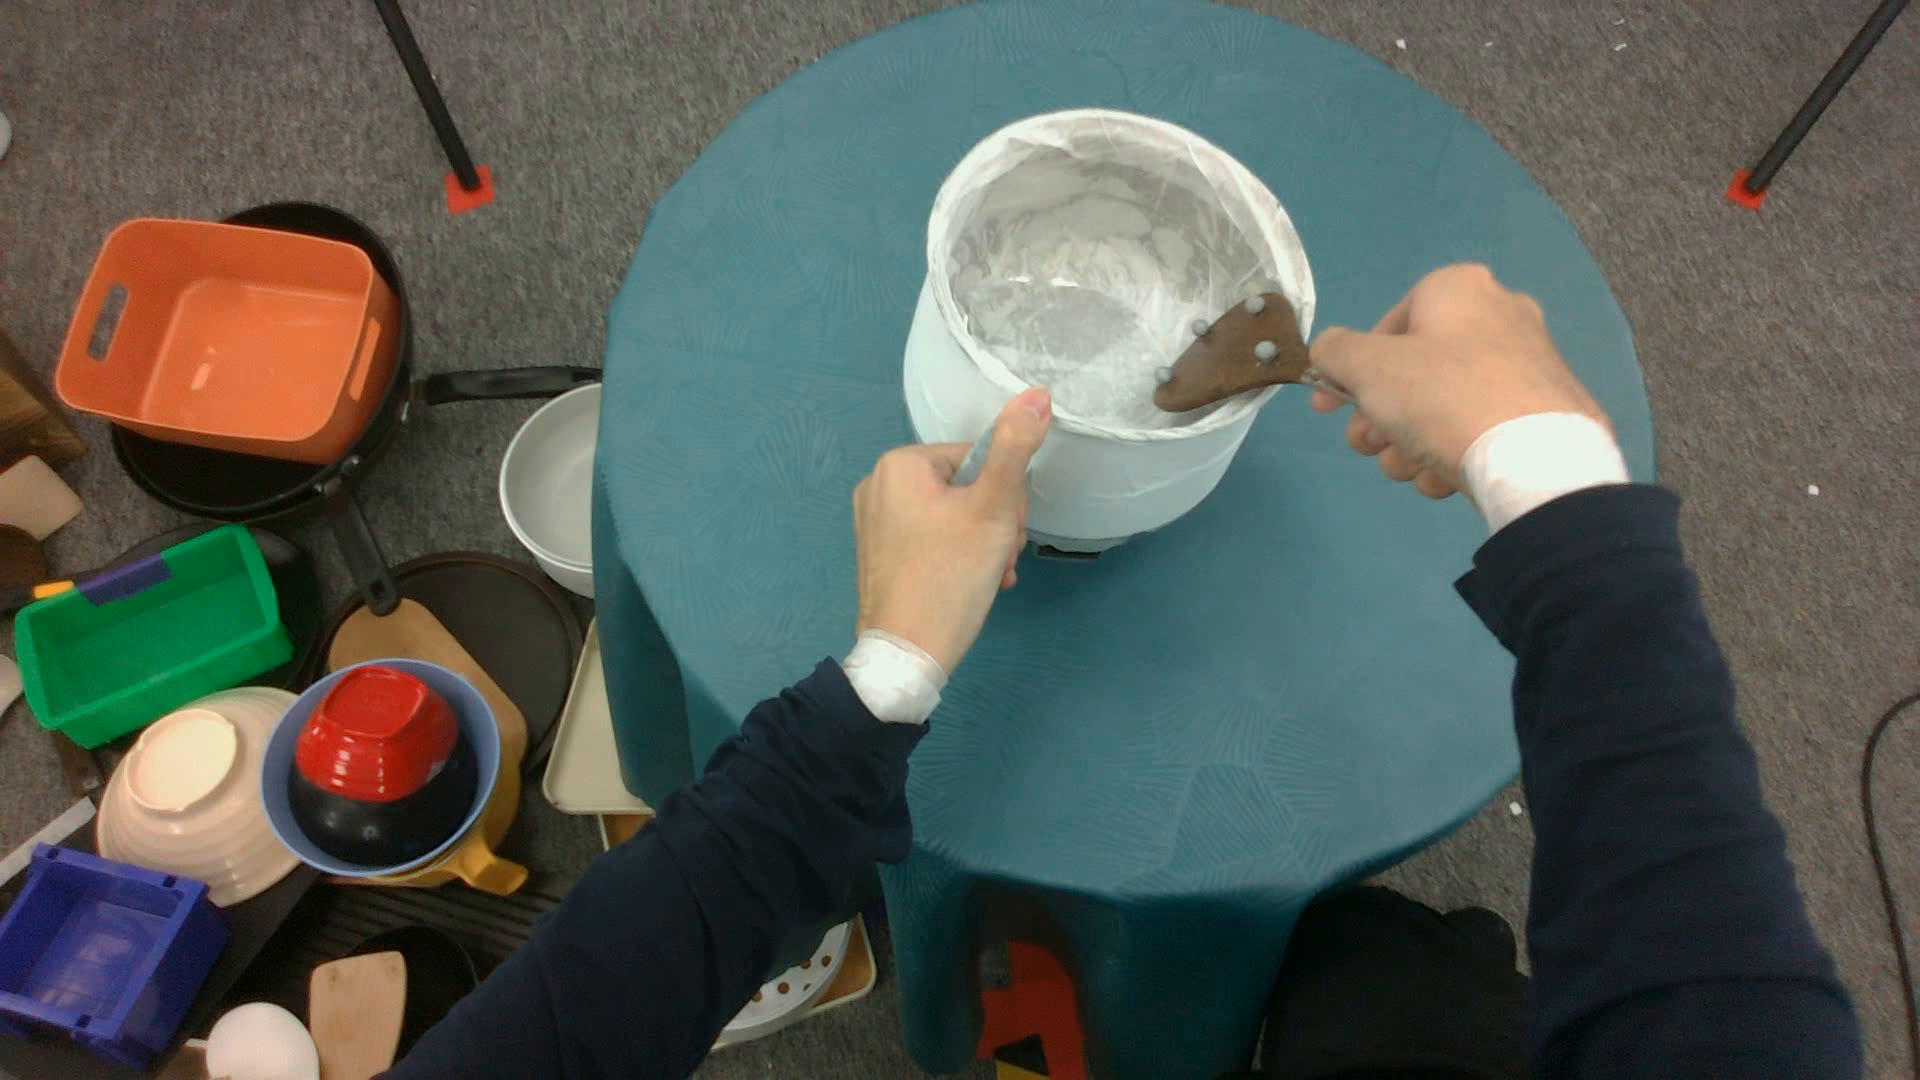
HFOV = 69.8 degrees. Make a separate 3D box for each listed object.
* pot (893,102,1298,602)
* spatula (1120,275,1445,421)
[{"bbox_3d":[0.045,-0.080,0.659,0.179,0.136,0.235,28,62,7],"label":"pot"},{"bbox_3d":[0.130,-0.077,0.585,0.072,0.216,0.009,-47,116,-2],"label":"spatula"}]
